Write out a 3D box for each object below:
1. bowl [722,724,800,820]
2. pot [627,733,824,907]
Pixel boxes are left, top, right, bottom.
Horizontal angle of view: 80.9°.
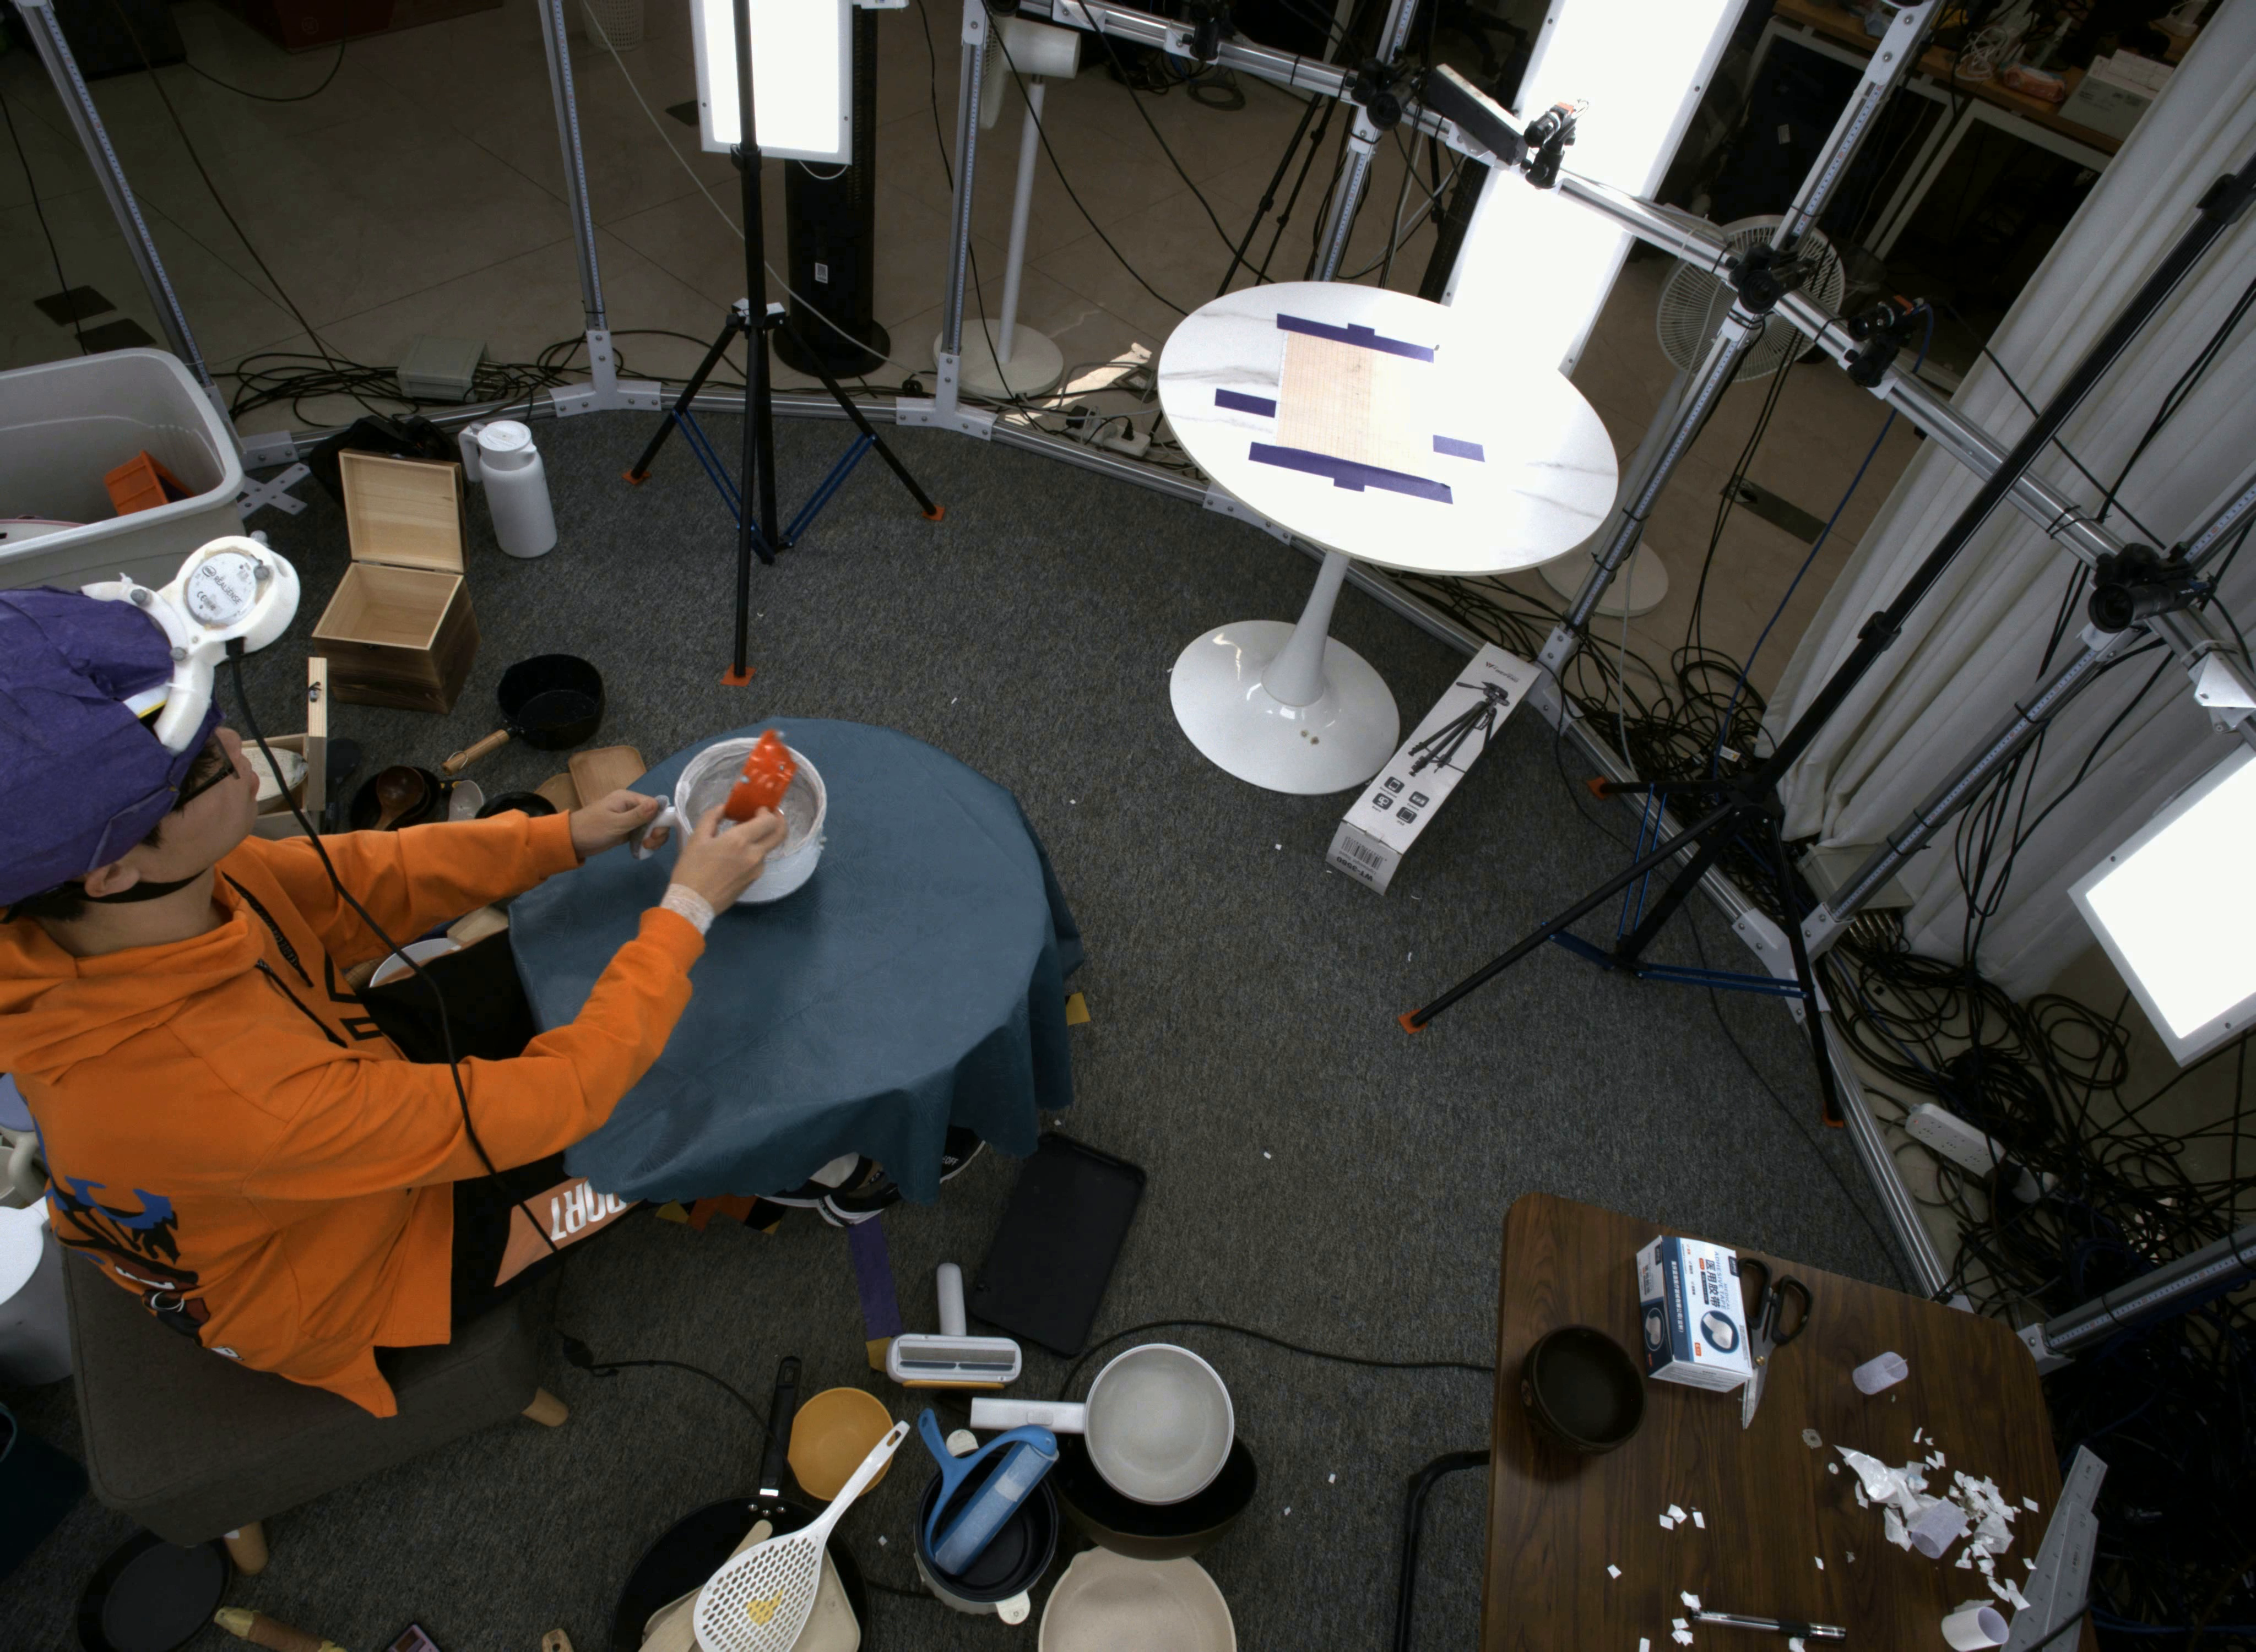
[{"bbox_3d":[-0.411,-0.053,1.466,0.052,0.119,0.117,27,49,-13],"label":"bowl"},{"bbox_3d":[-0.490,-0.002,1.567,0.235,0.138,0.175,-4,60,-21],"label":"pot"}]
